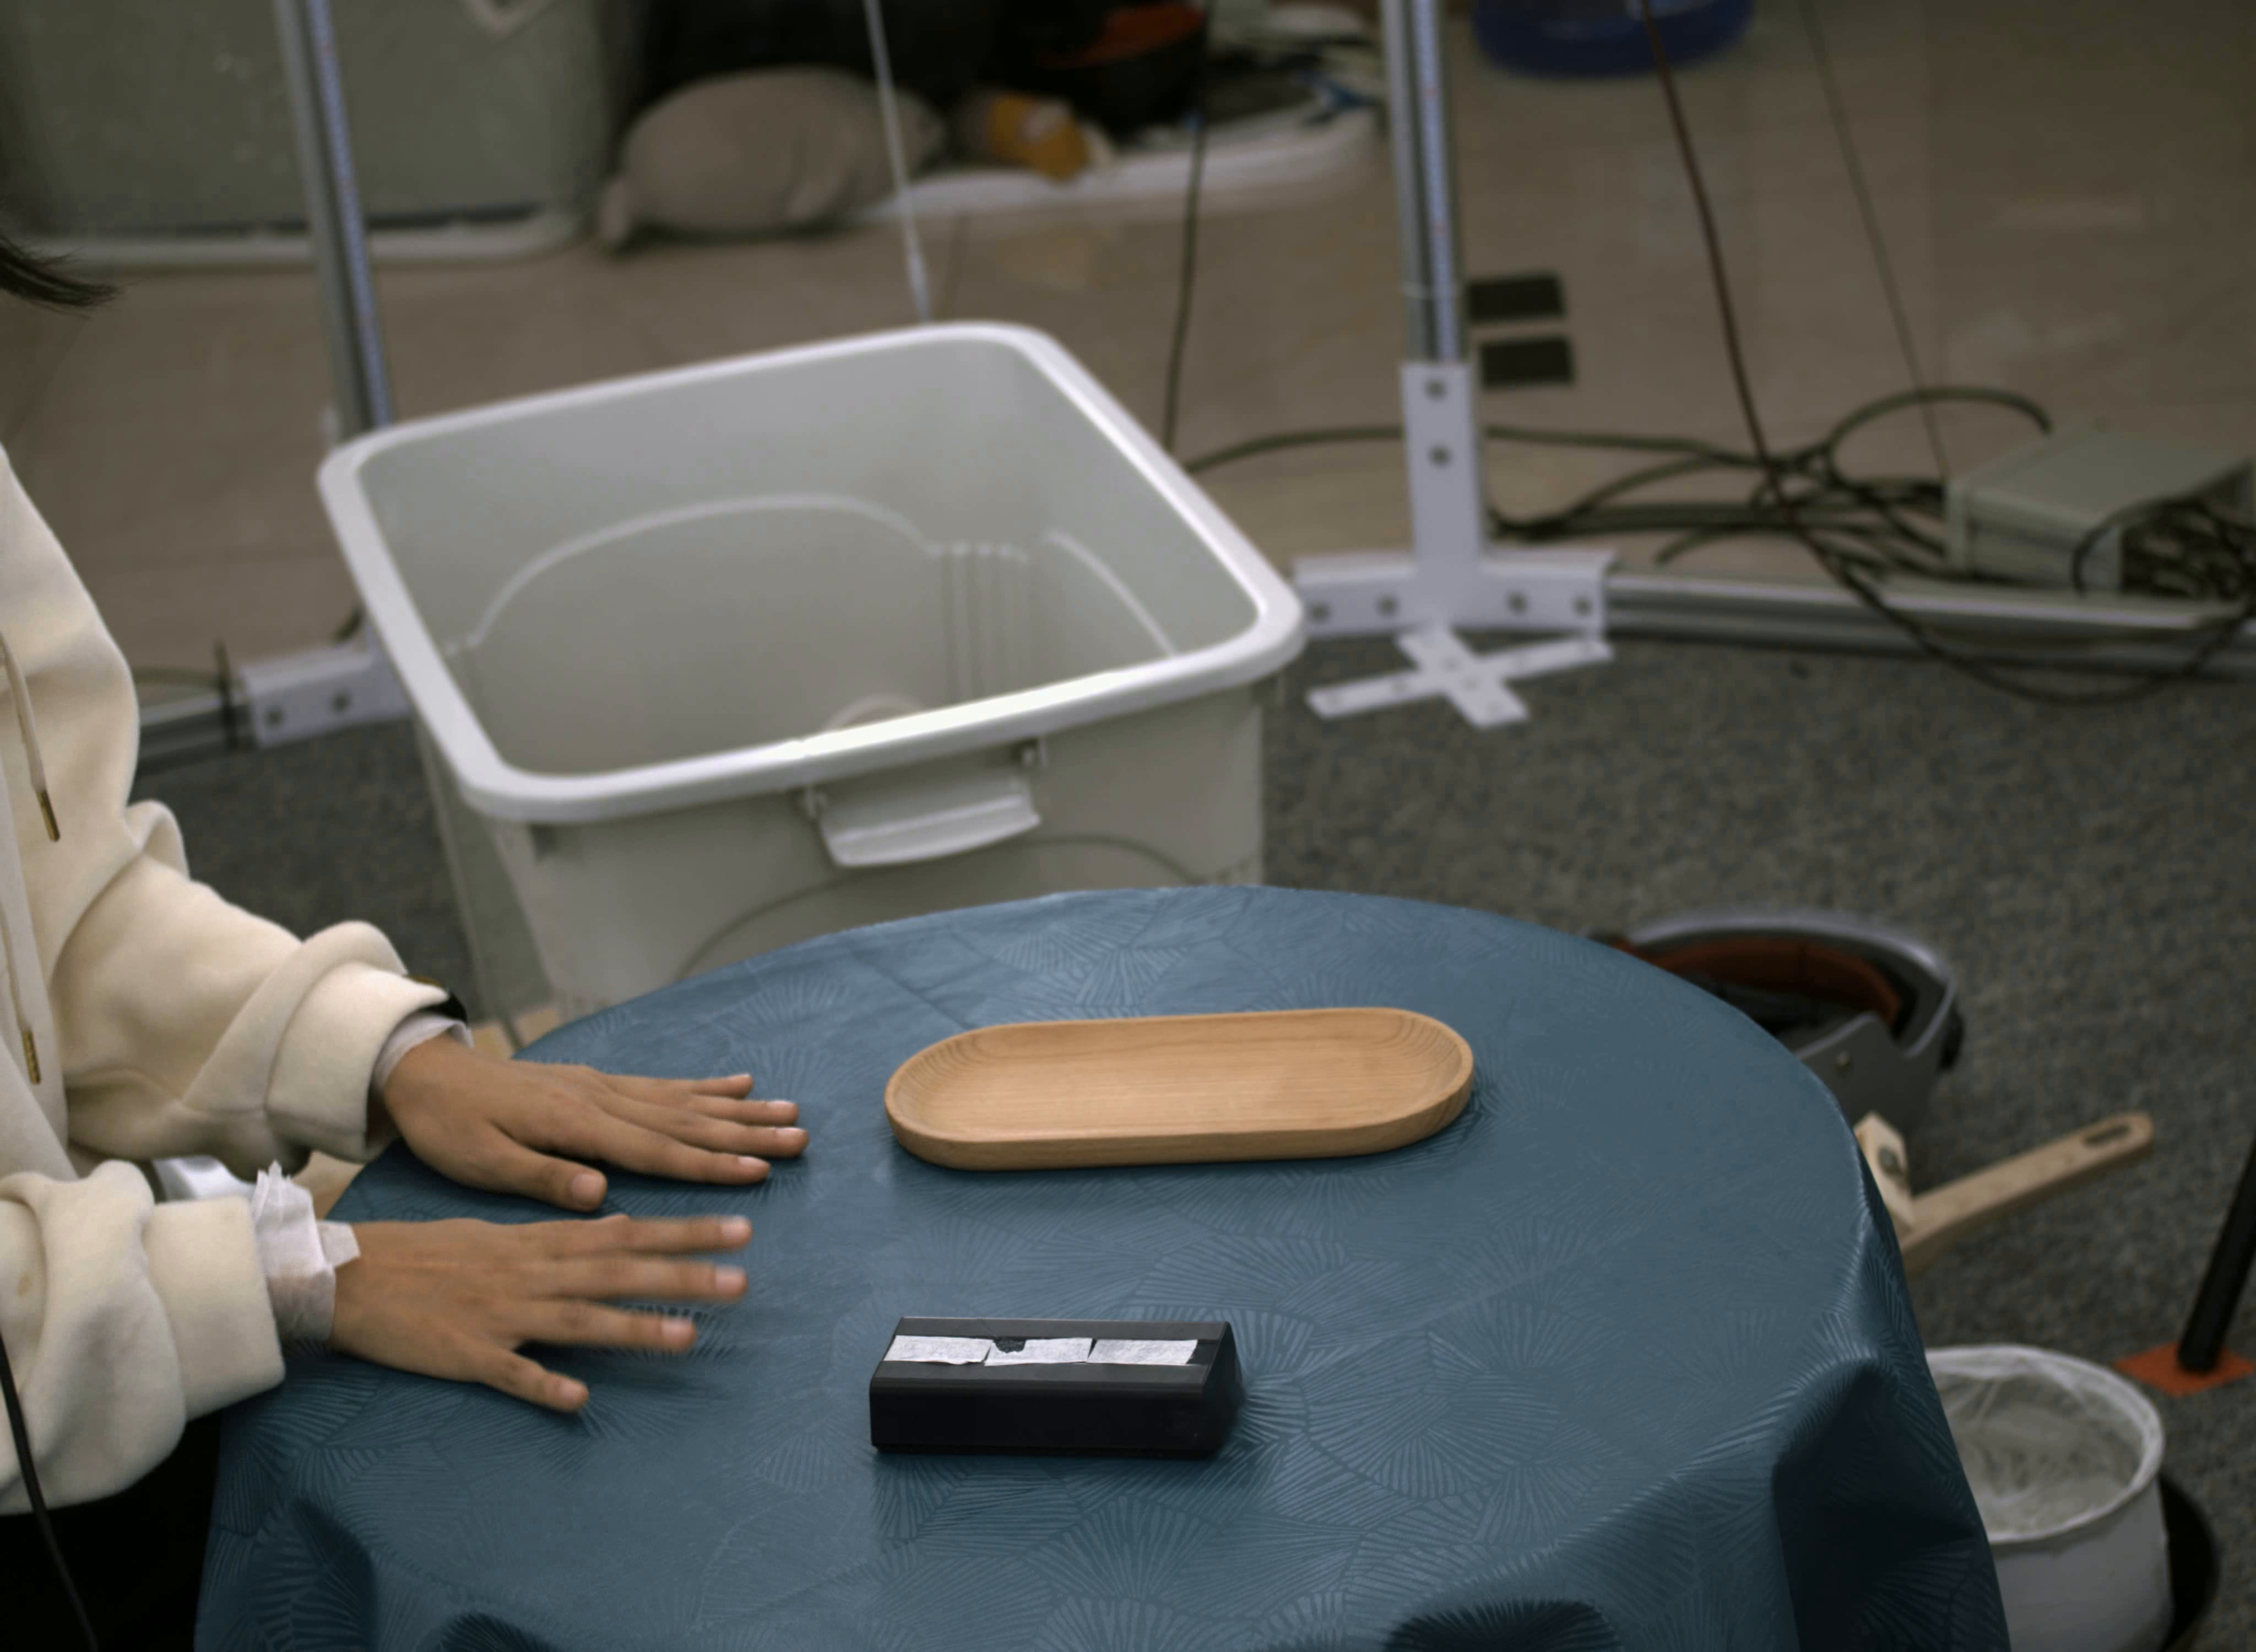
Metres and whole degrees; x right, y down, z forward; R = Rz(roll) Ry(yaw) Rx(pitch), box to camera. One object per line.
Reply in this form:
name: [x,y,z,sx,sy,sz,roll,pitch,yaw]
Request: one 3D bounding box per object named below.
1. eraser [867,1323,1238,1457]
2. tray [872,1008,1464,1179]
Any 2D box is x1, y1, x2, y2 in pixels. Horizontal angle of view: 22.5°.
eraser: [-0.025,0.197,1.994,0.125,0.031,0.053,1,20,13]
tray: [0.016,0.104,2.200,0.231,0.020,0.100,-5,24,7]
